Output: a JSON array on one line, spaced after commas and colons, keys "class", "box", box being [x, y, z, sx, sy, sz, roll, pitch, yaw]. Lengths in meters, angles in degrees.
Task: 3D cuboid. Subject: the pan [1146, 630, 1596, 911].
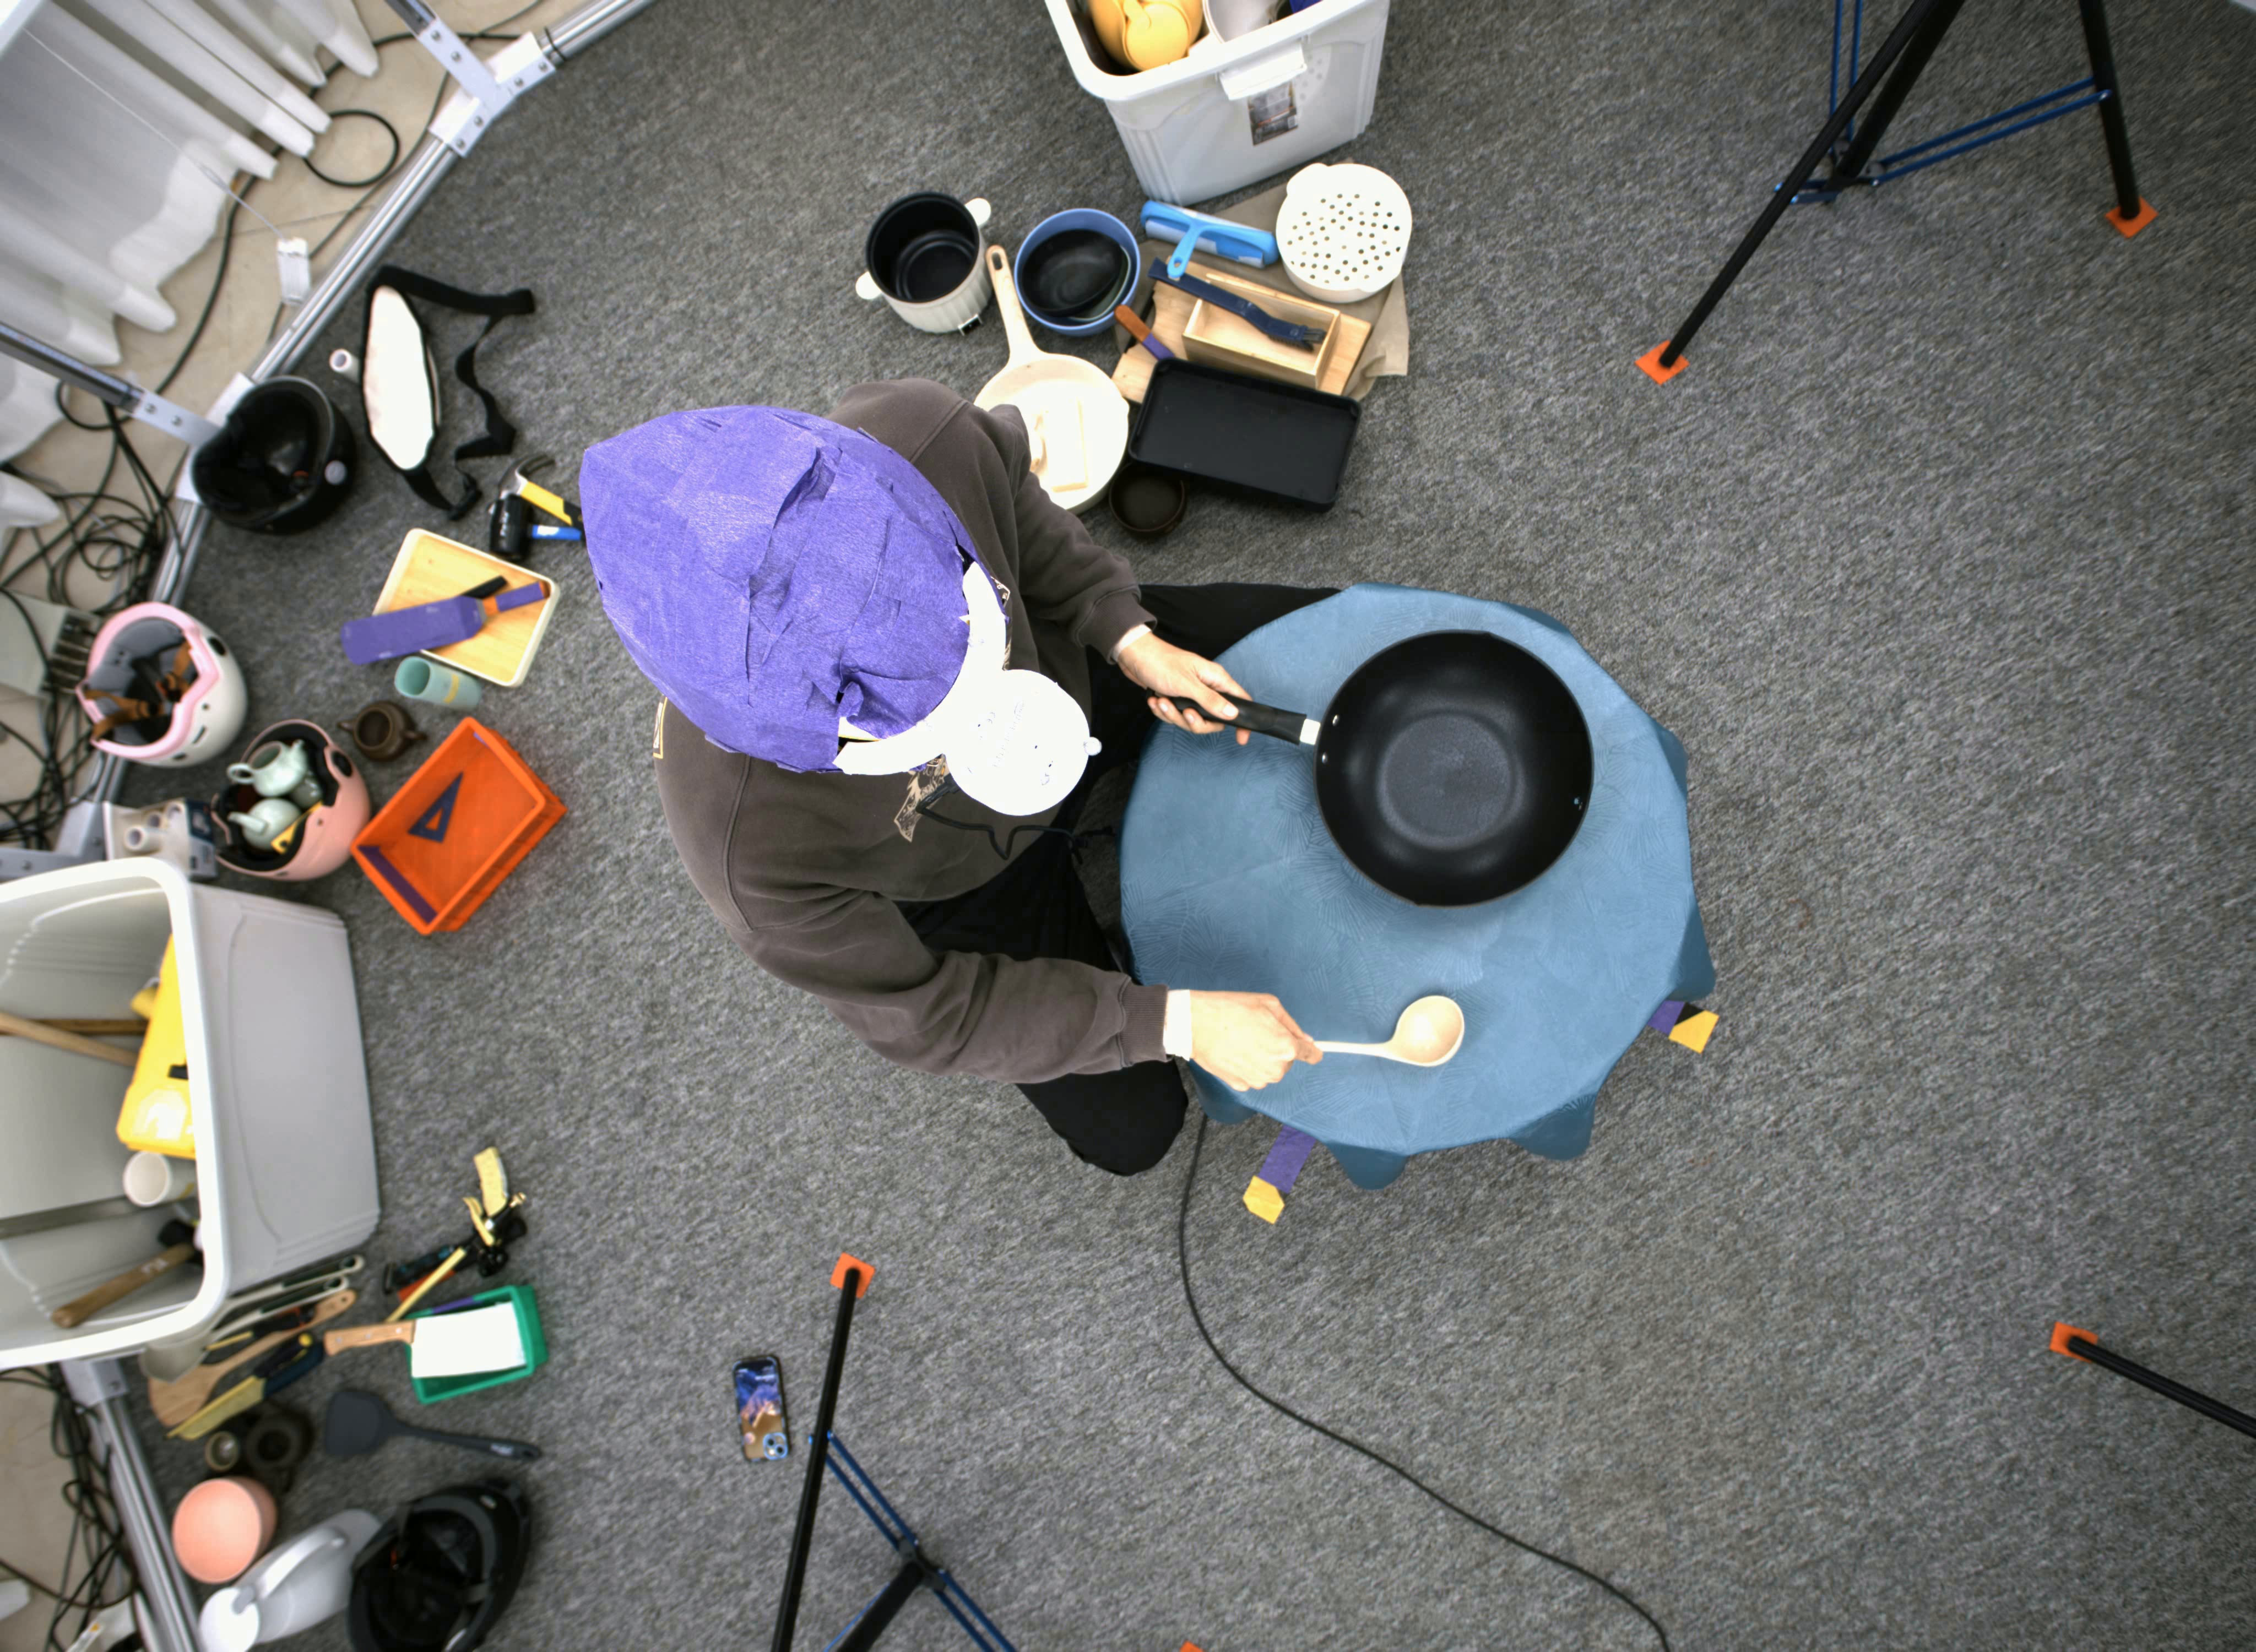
[{"class": "pan", "box": [0.243, -0.079, 1.427, 0.464, 0.087, 0.288, 16, 90, 12]}]

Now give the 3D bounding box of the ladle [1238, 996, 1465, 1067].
[{"class": "ladle", "box": [0.225, 0.201, 1.357, 0.074, 0.253, 0.070, -58, 42, 36]}]
